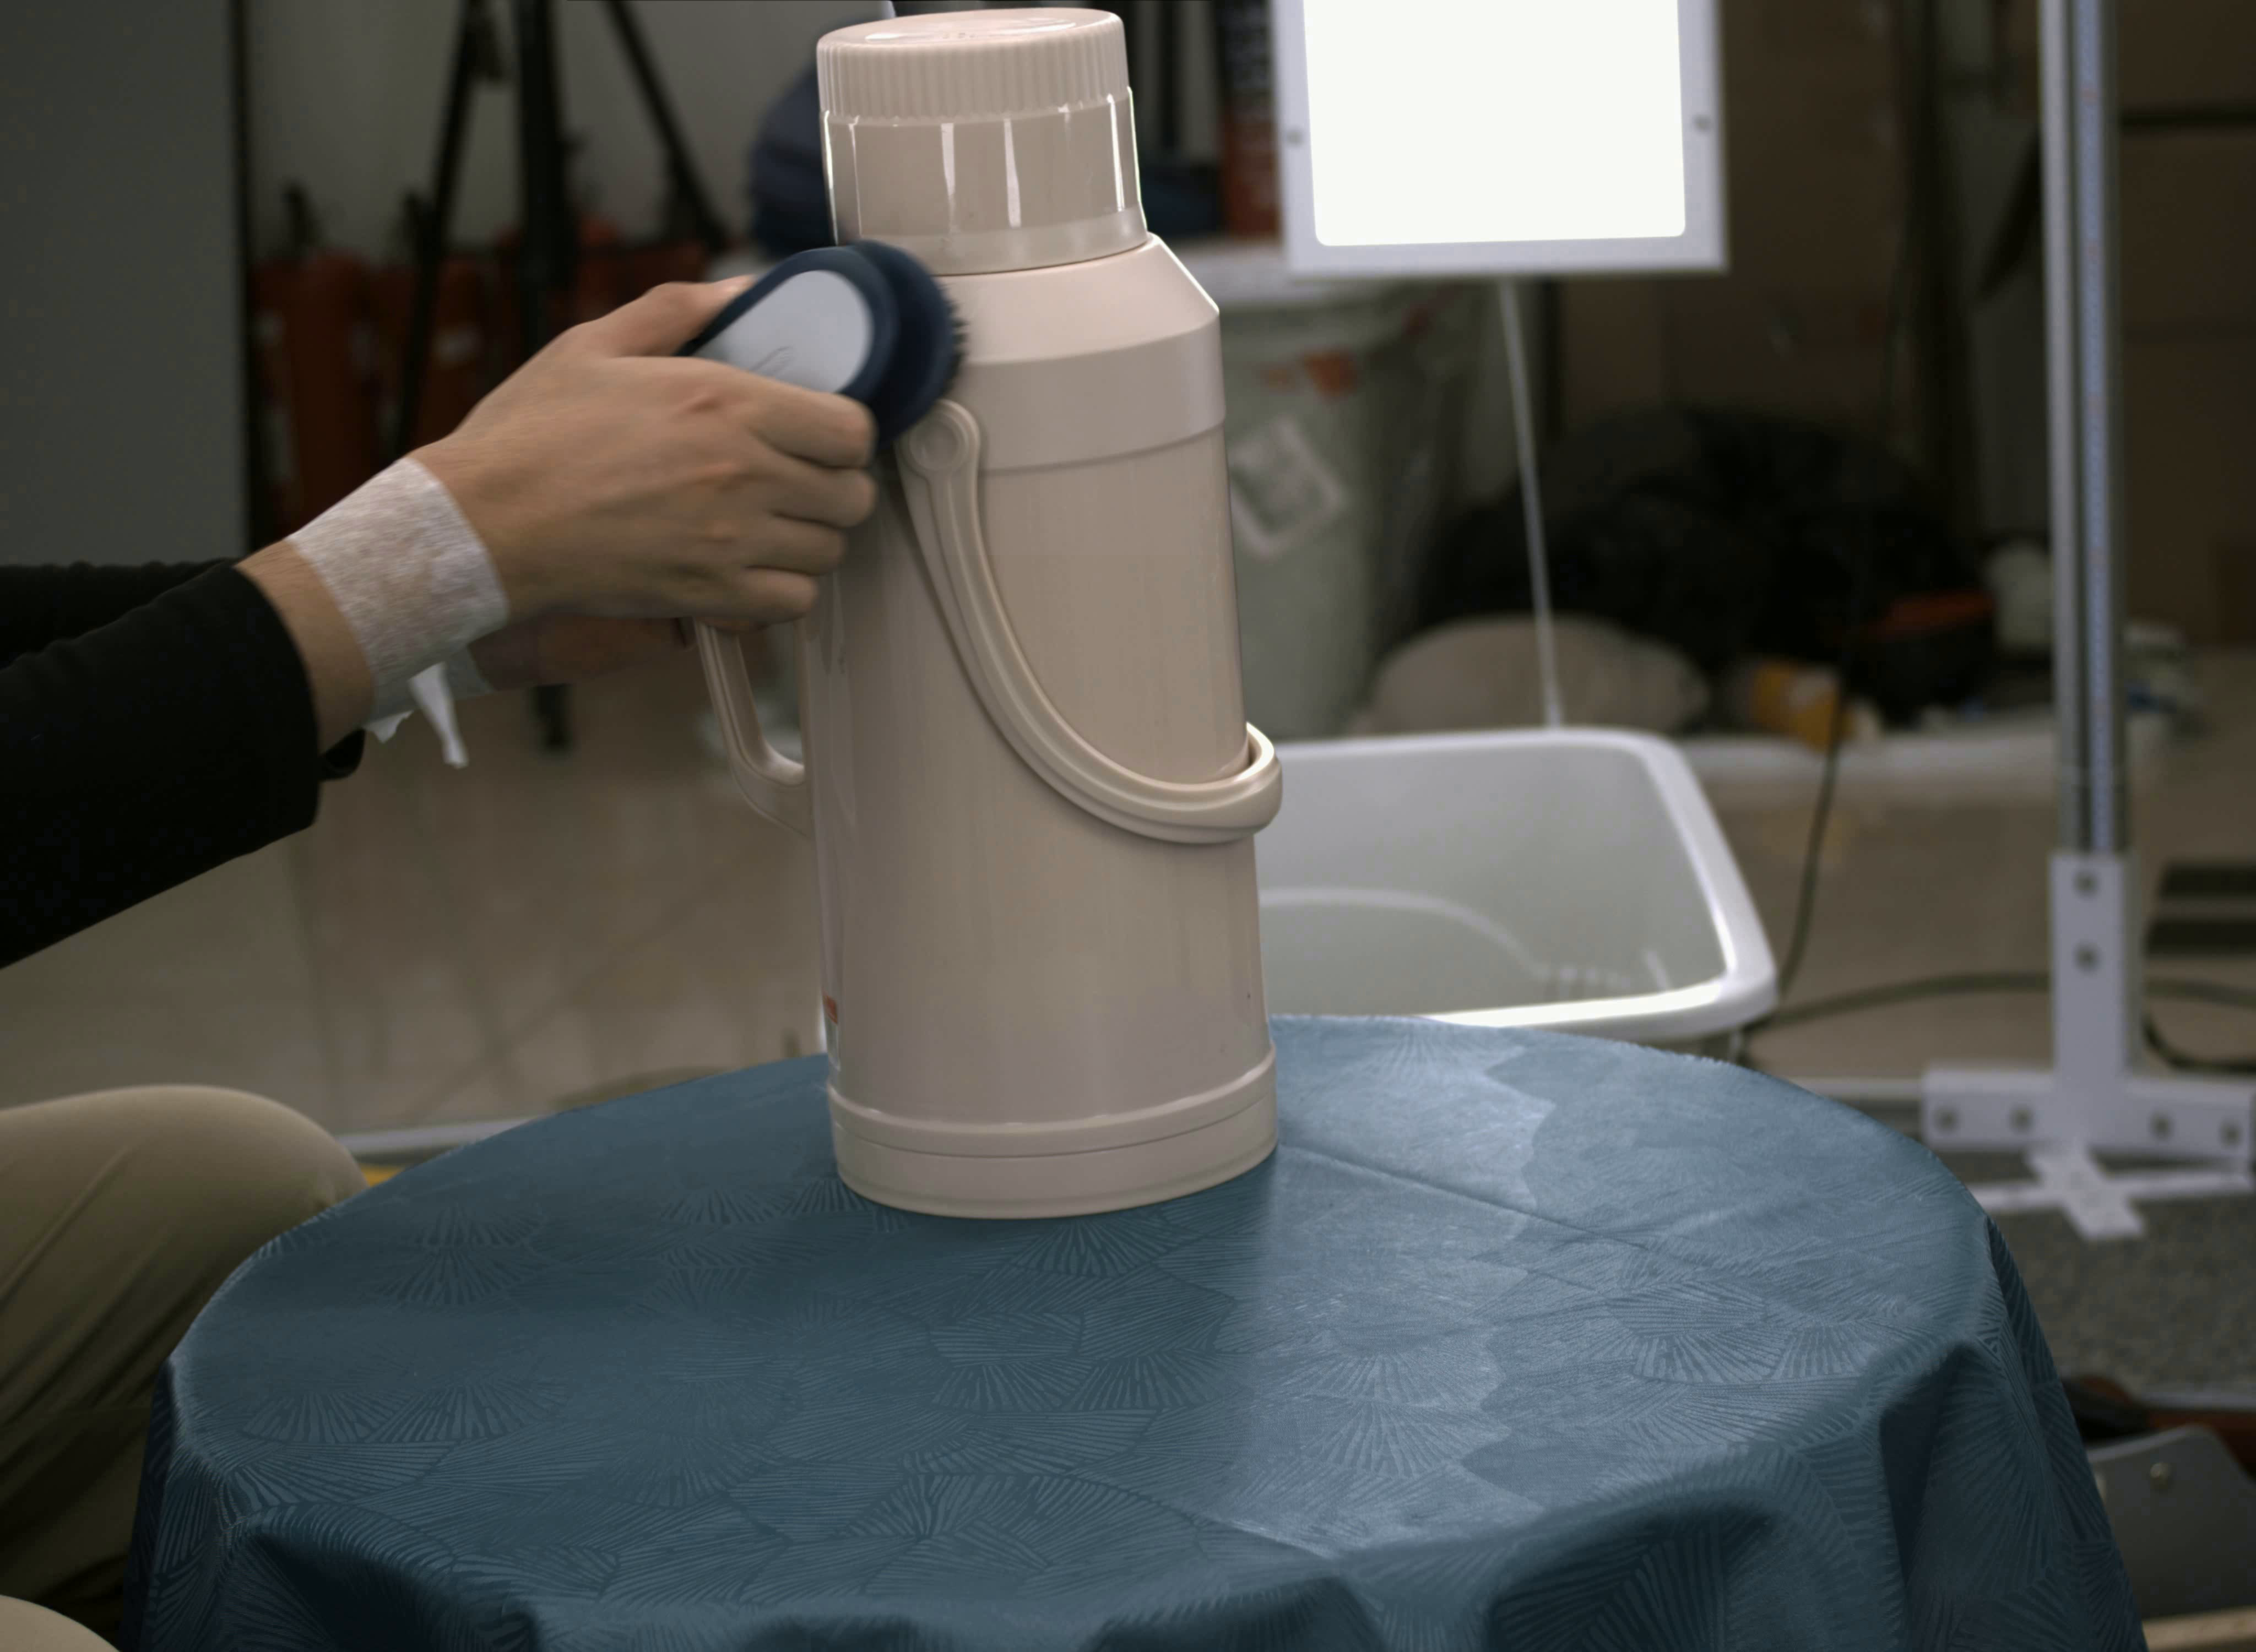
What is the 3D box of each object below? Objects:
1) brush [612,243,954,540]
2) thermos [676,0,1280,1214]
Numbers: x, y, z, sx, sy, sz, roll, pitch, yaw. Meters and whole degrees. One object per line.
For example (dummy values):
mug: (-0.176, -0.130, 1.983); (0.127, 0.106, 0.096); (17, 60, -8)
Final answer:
brush: (-0.112, -0.143, 1.811); (0.123, 0.068, 0.060); (-35, -19, 25)
thermos: (-0.053, -0.077, 1.913); (0.209, 0.408, 0.173); (-1, 16, 14)
